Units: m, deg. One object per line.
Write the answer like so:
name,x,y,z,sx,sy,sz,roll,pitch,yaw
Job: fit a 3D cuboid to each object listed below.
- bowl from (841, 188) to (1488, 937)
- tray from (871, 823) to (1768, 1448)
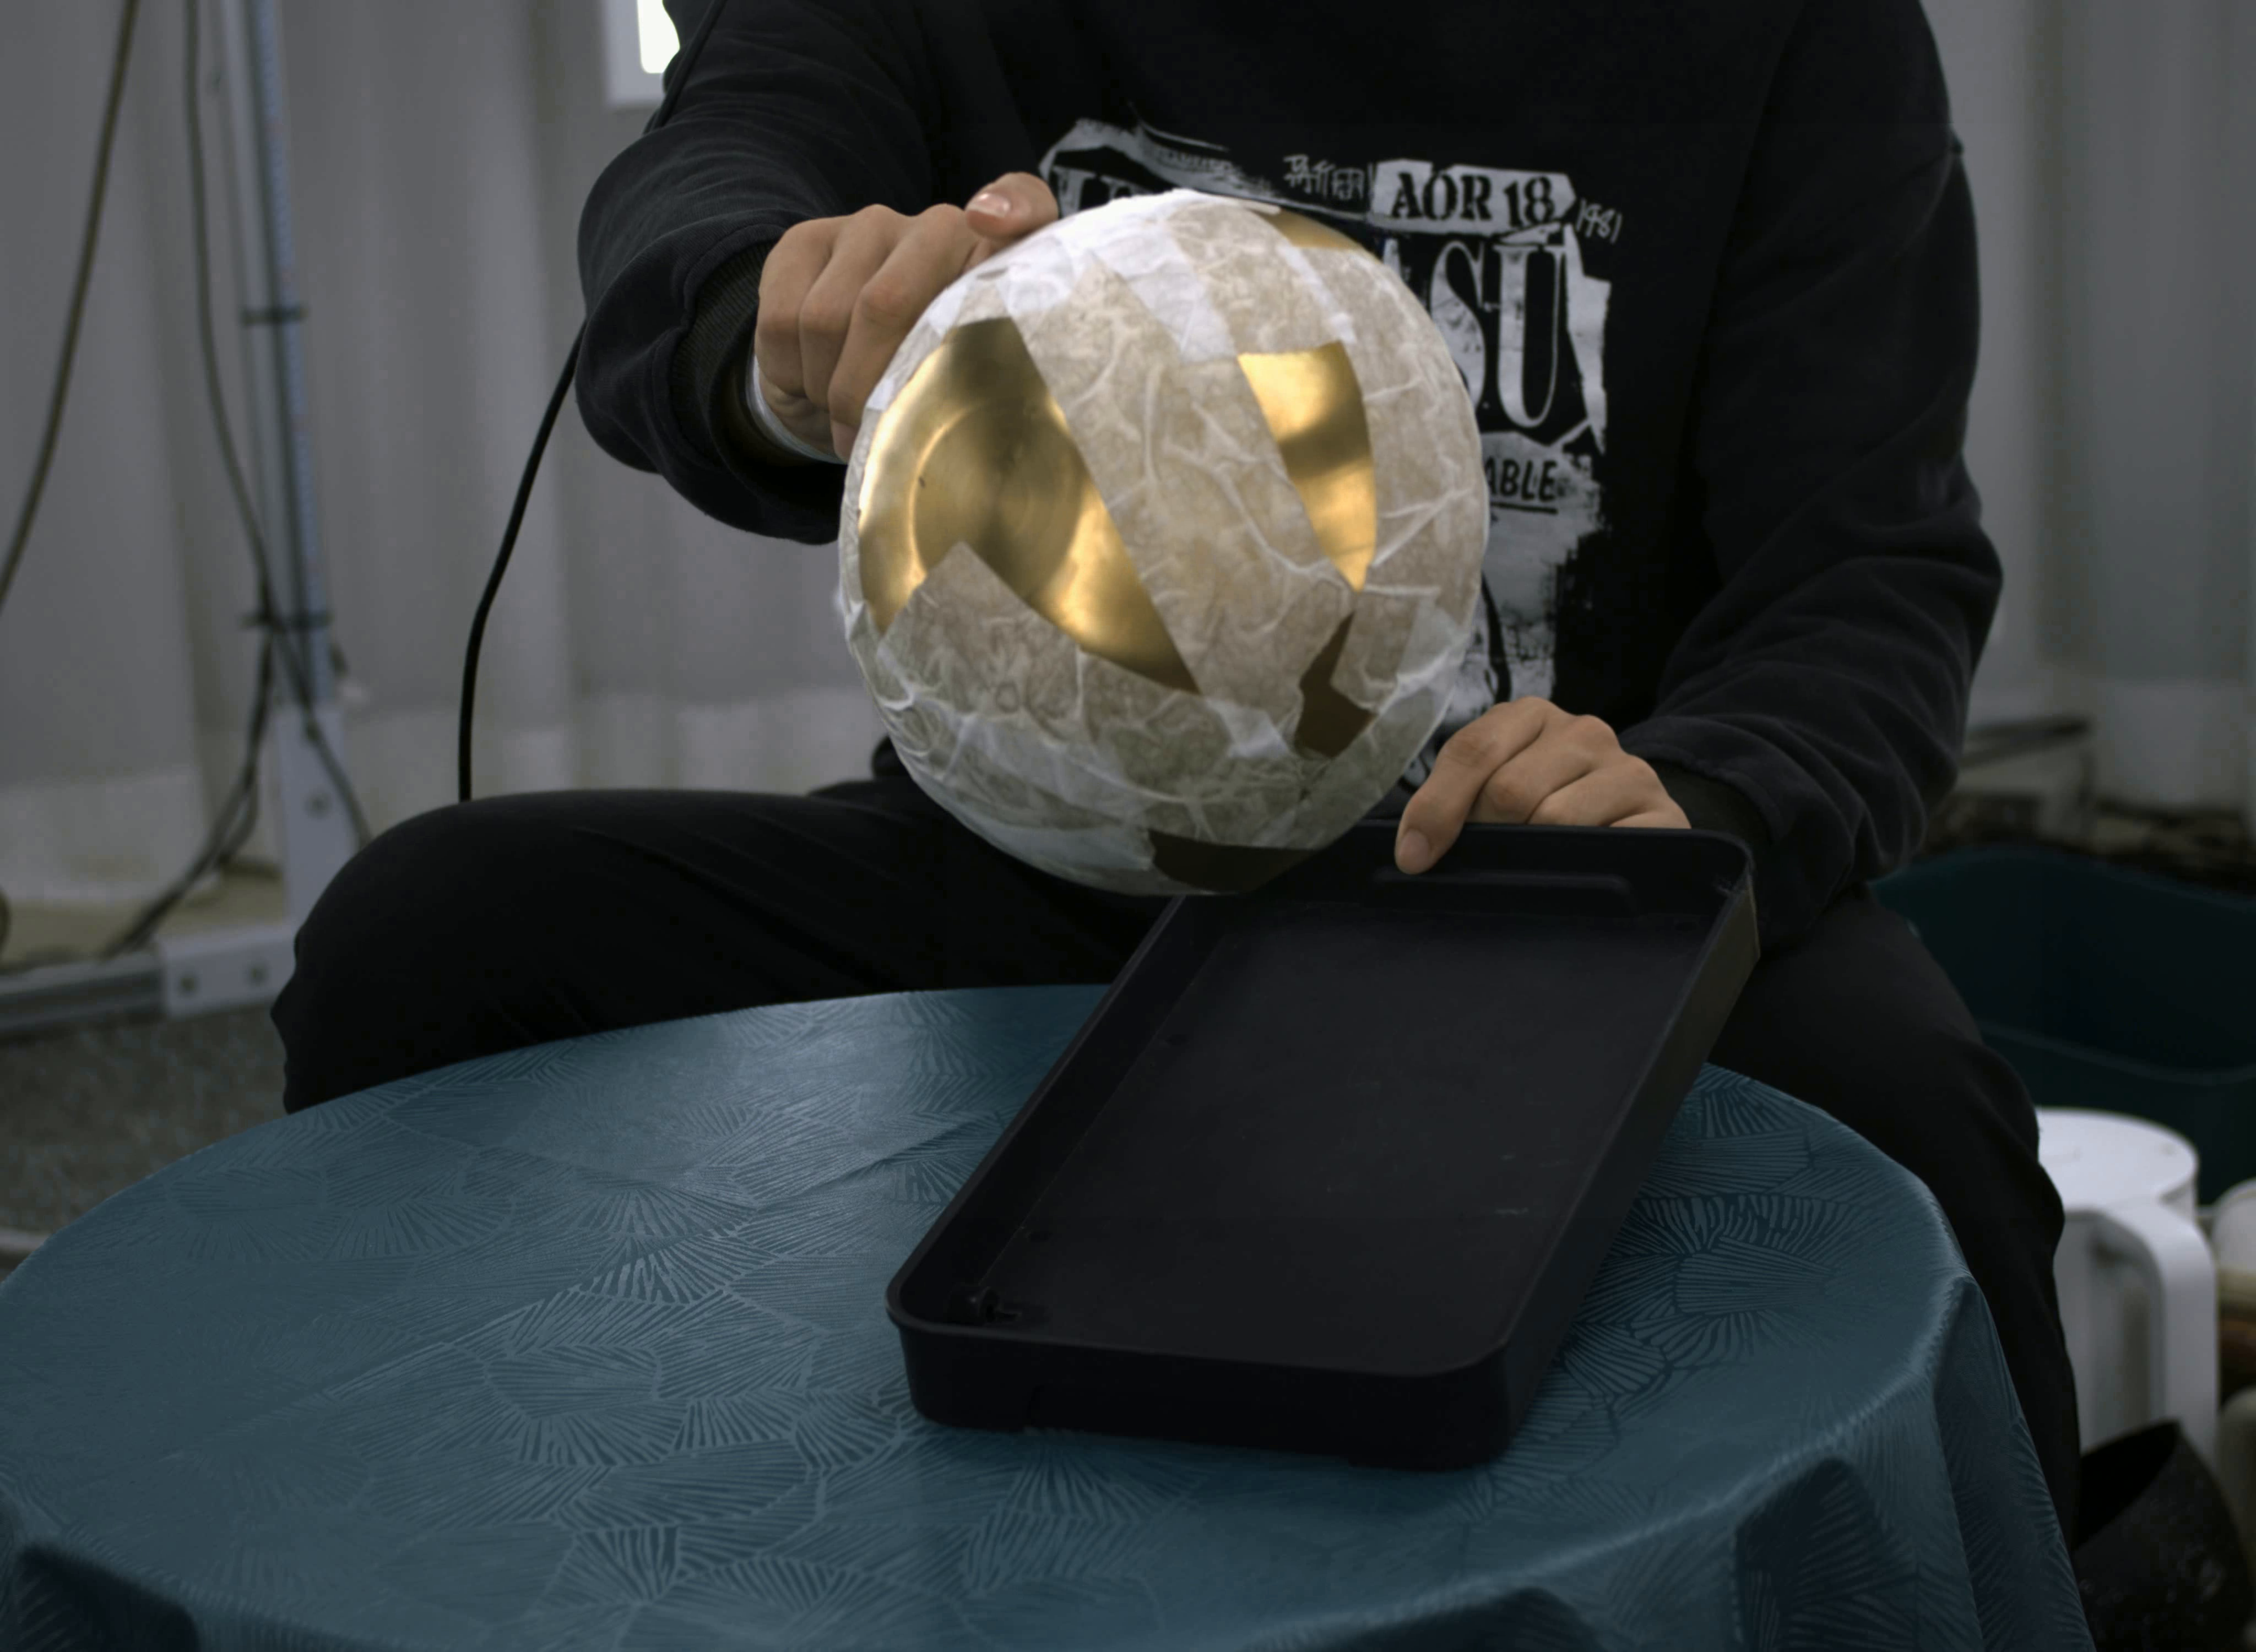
bowl,-0.011,-0.081,1.518,0.215,0.215,0.094,9,0,38
tray,0.066,0.083,1.618,0.184,0.037,0.320,2,26,23
